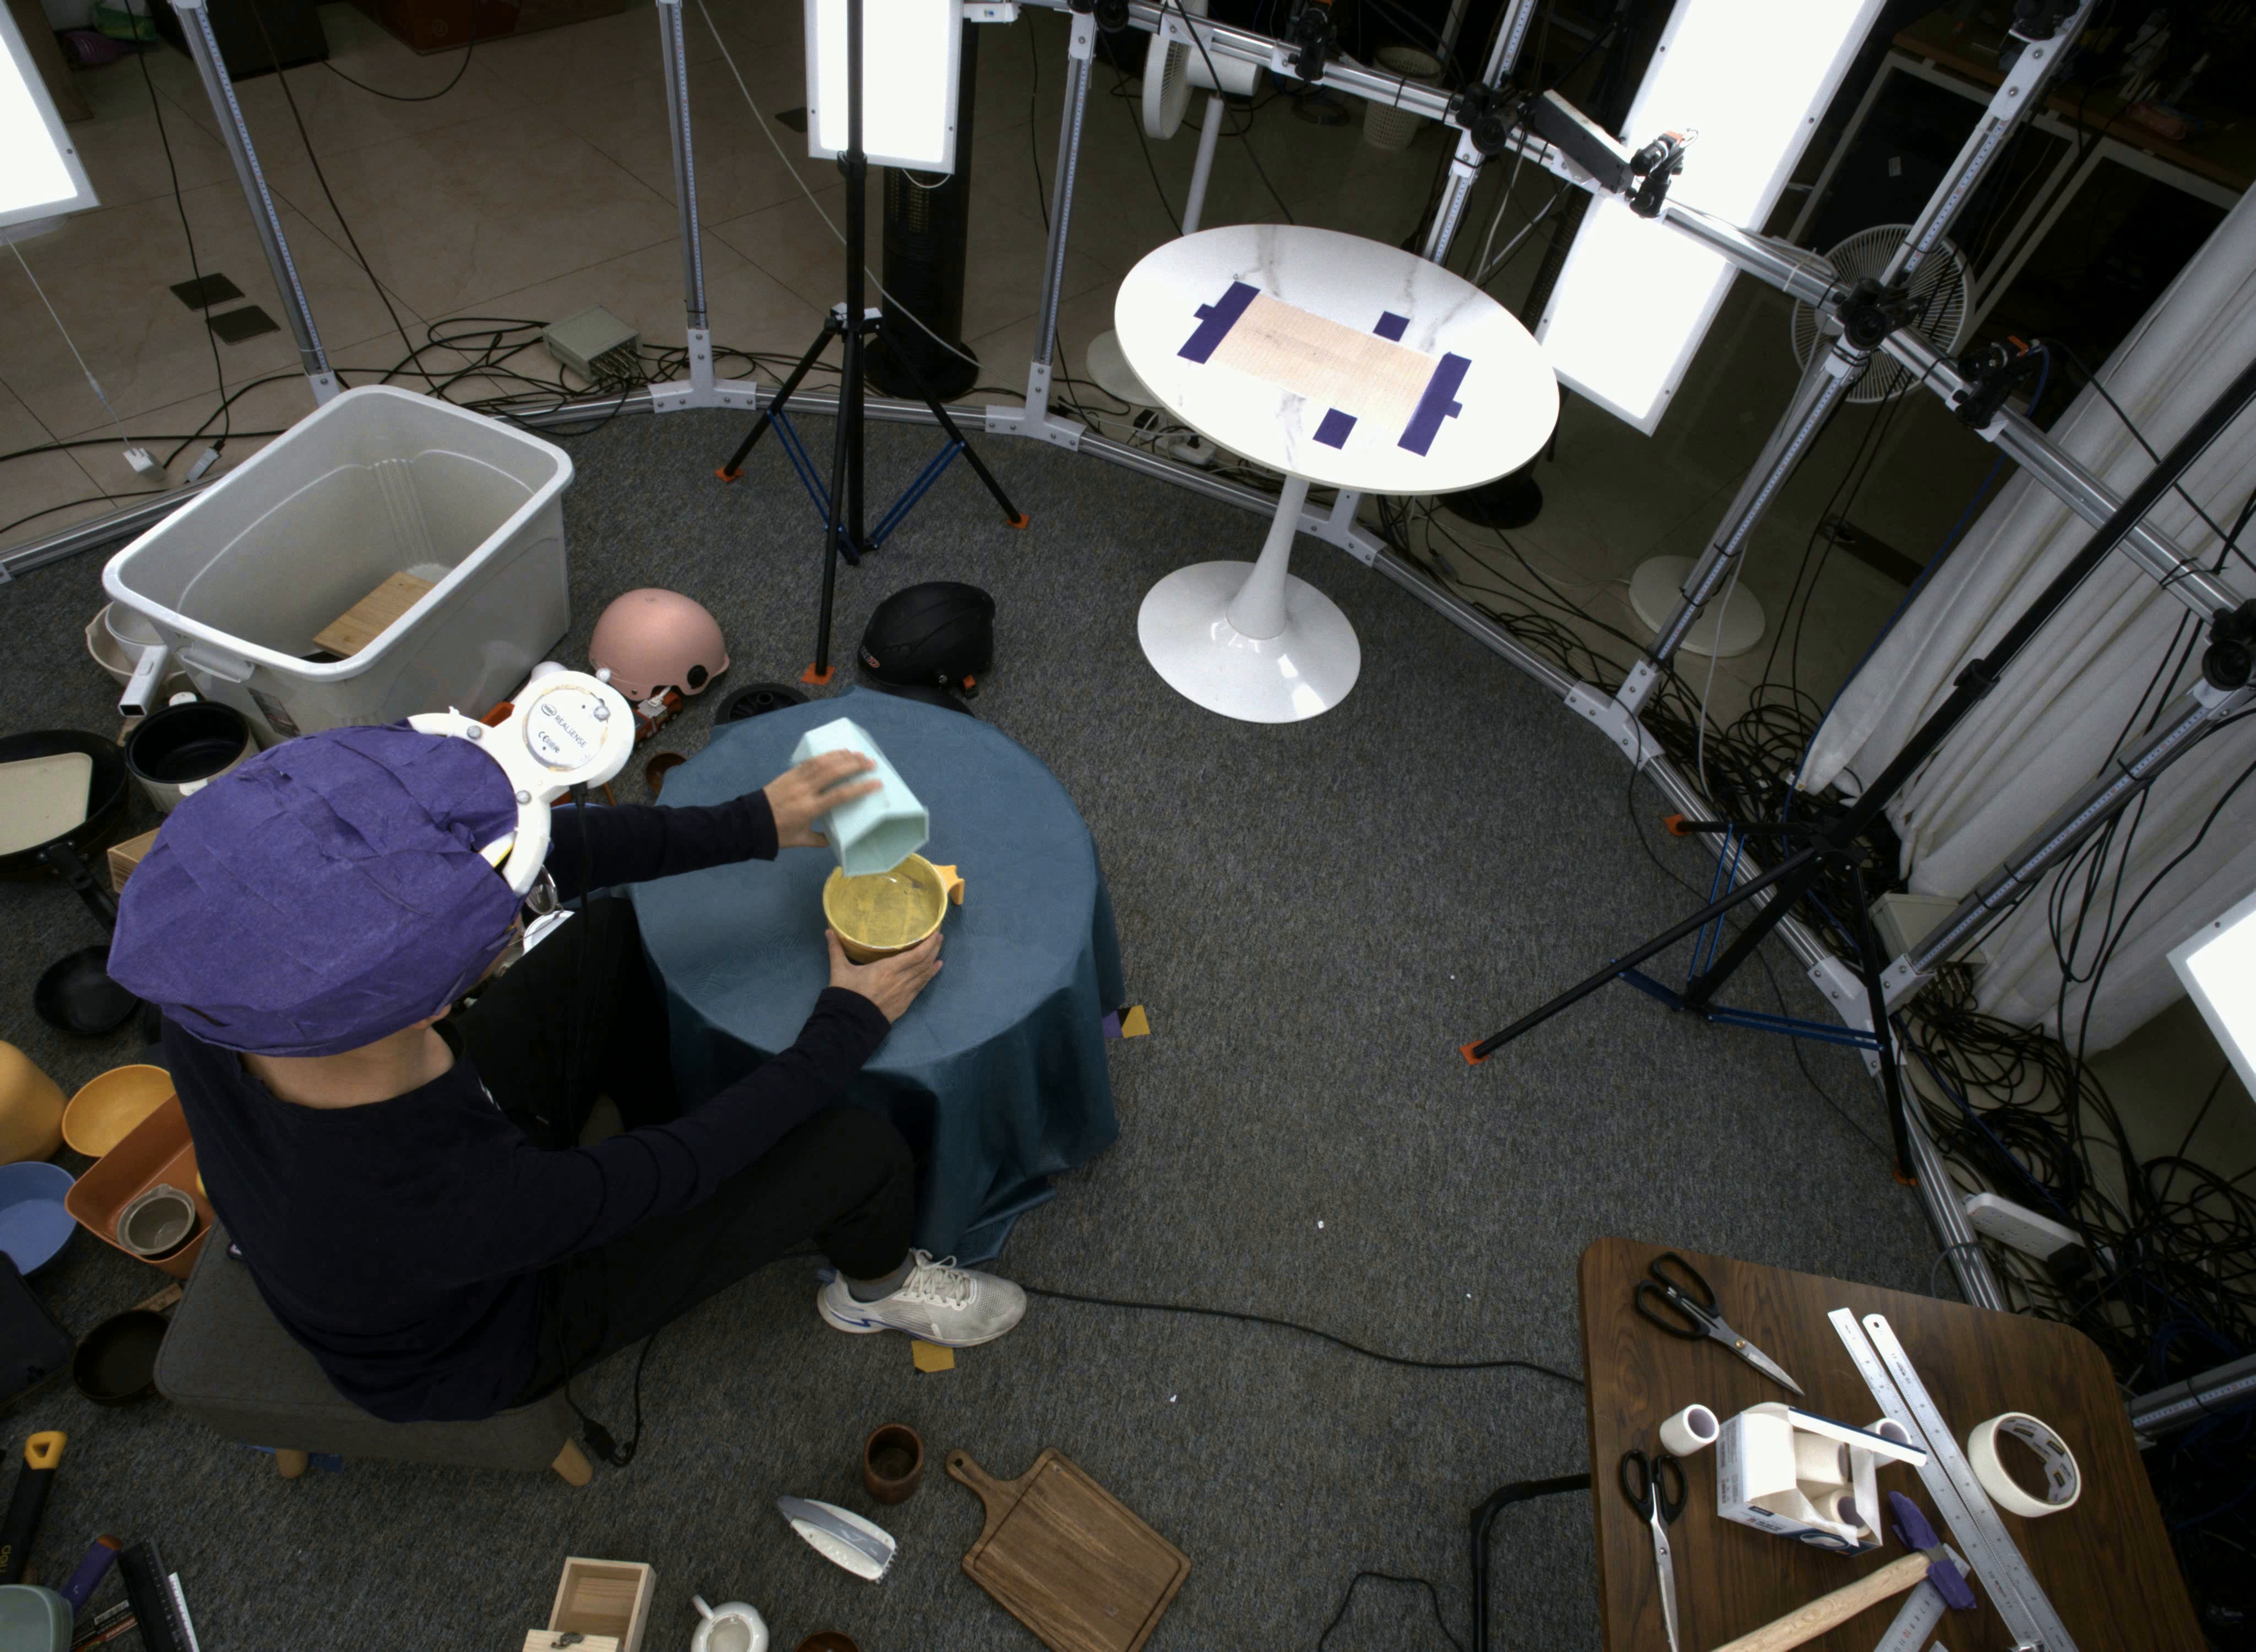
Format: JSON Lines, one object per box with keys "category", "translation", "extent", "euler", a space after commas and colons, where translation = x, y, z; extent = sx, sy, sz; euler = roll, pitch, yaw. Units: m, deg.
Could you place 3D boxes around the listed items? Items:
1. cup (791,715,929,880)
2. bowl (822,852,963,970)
{"category": "cup", "translation": [-0.327, -0.039, 1.566], "extent": [0.115, 0.133, 0.160], "euler": [-24, 68, -19]}
{"category": "bowl", "translation": [-0.293, 0.102, 1.640], "extent": [0.180, 0.076, 0.149], "euler": [-26, 63, -26]}
